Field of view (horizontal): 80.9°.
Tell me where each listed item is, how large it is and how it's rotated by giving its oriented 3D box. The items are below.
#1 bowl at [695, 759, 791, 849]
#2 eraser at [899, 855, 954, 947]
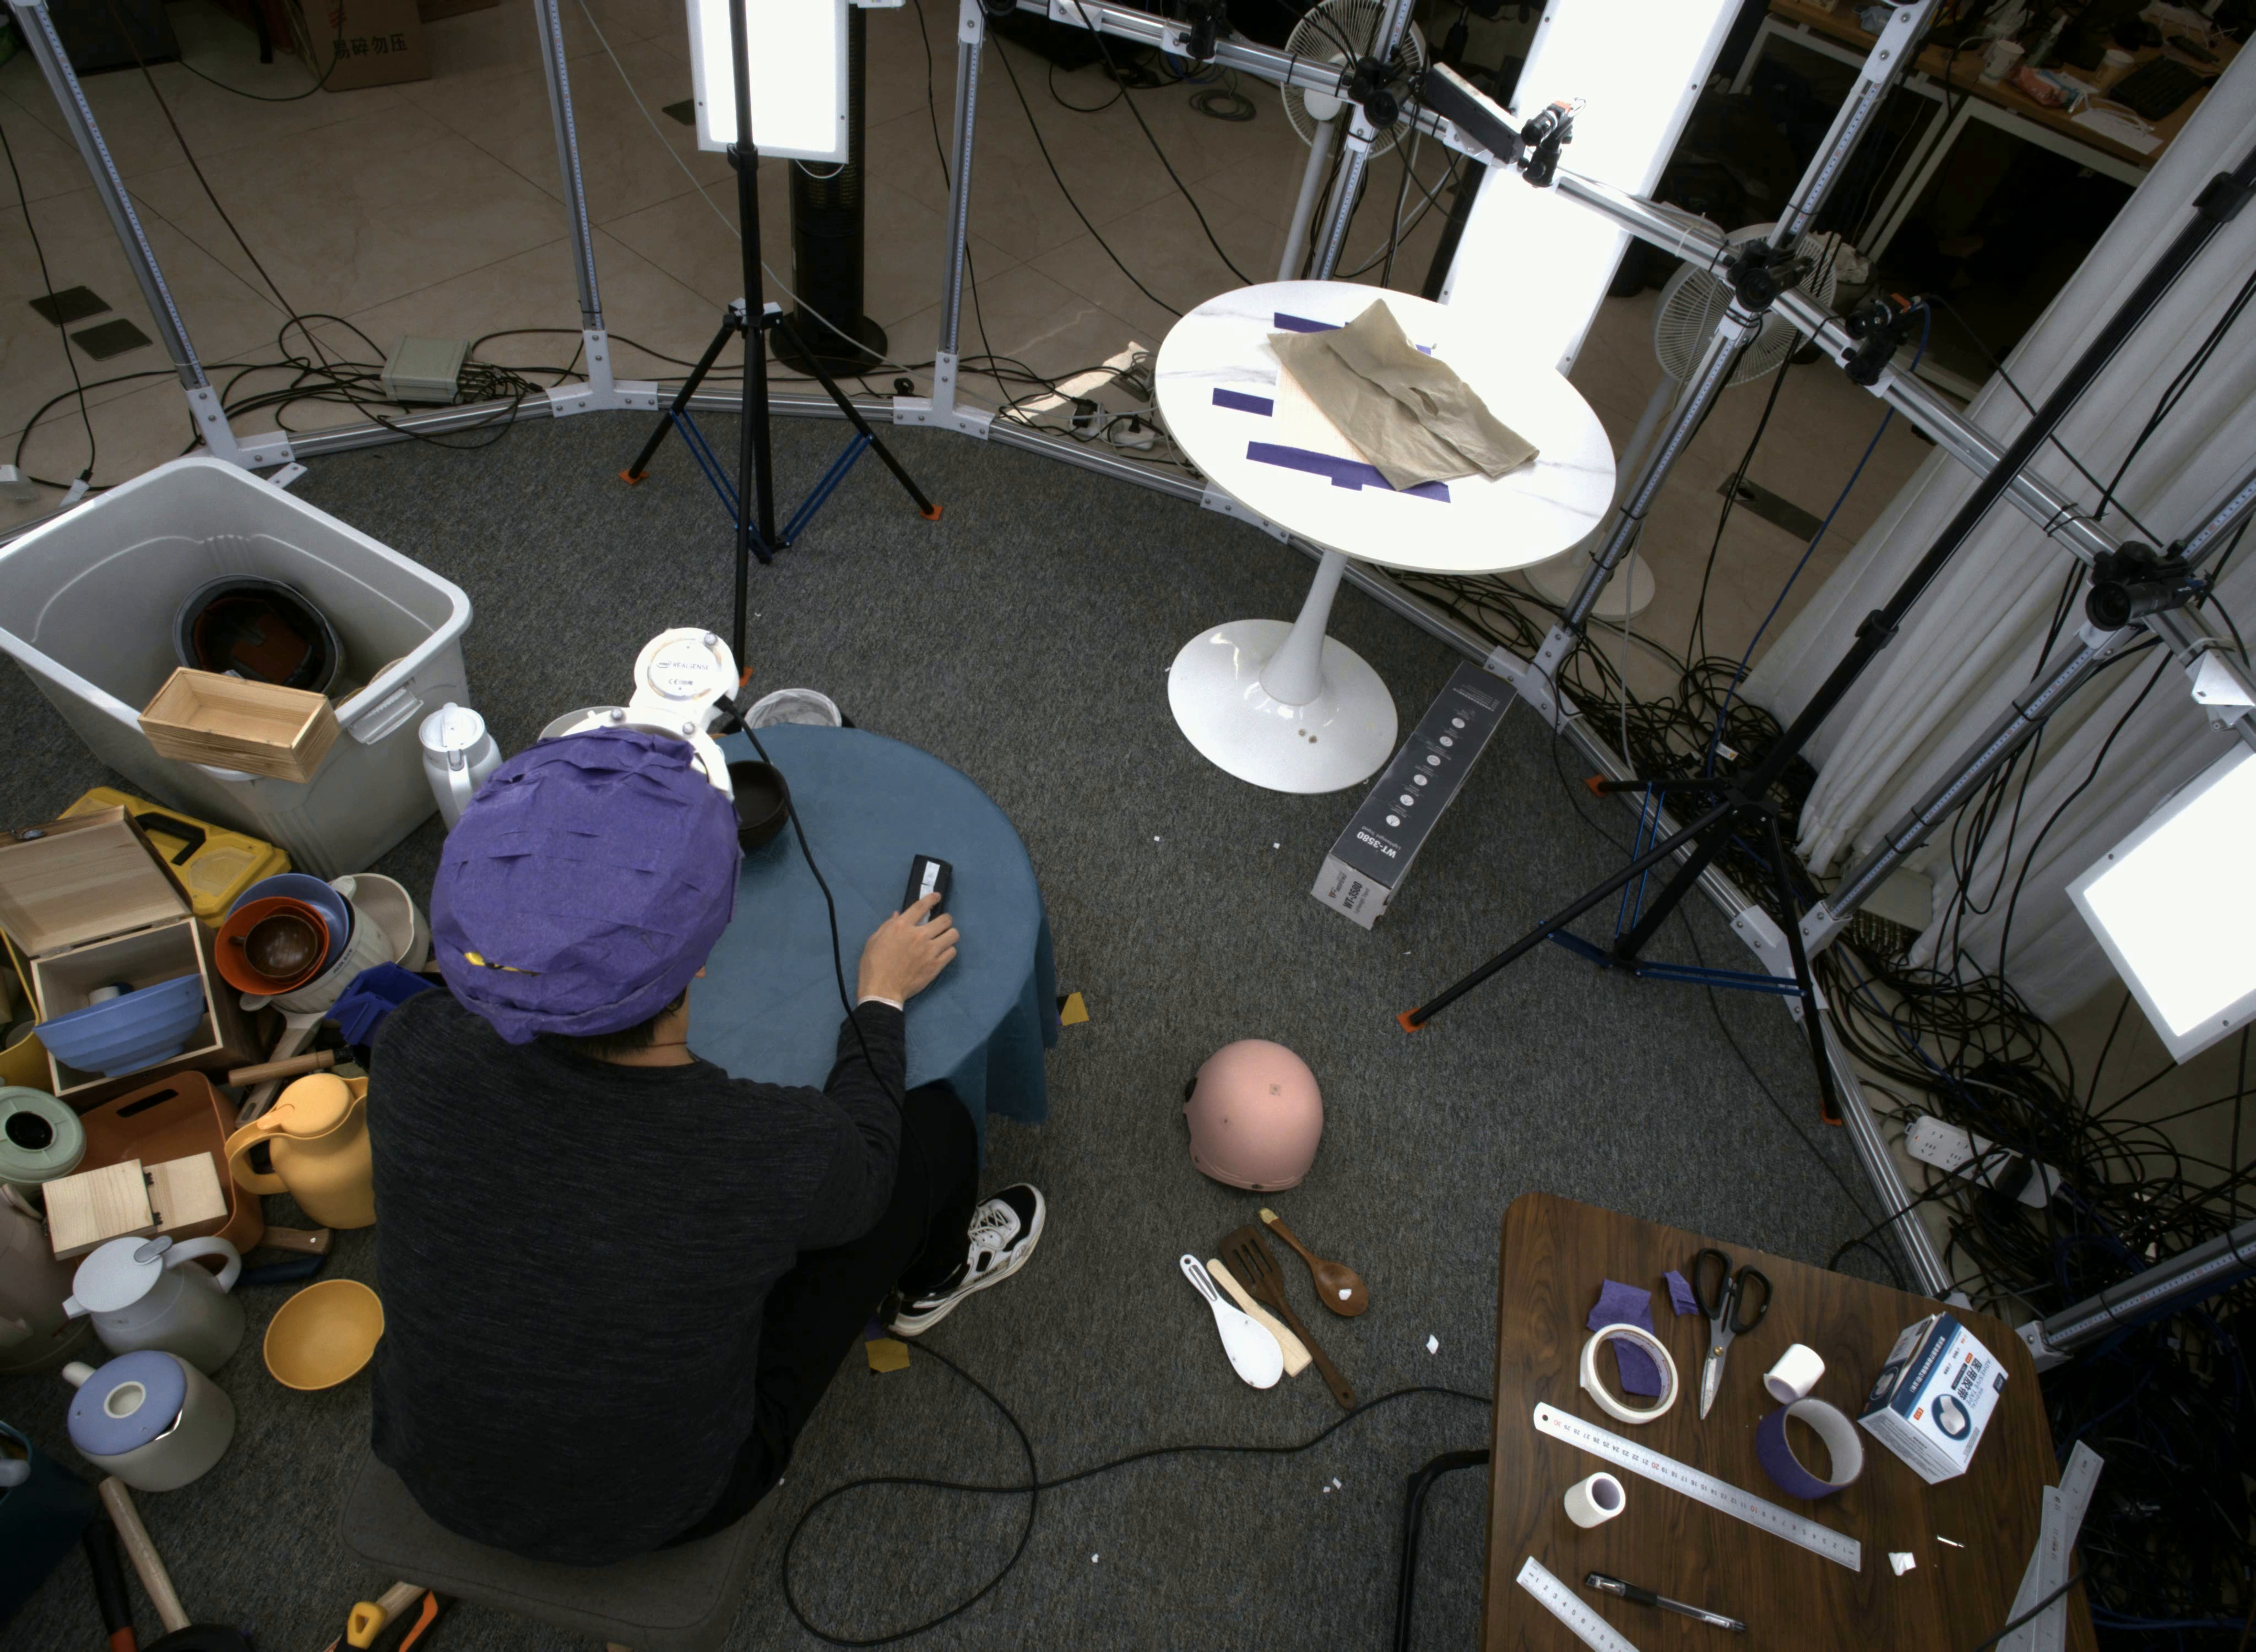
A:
[{"bbox_3d":[-0.492,-0.021,1.666,0.117,0.072,0.116,3,53,-2],"label":"bowl"},{"bbox_3d":[-0.259,0.093,1.673,0.053,0.031,0.123,10,52,-7],"label":"eraser"}]
